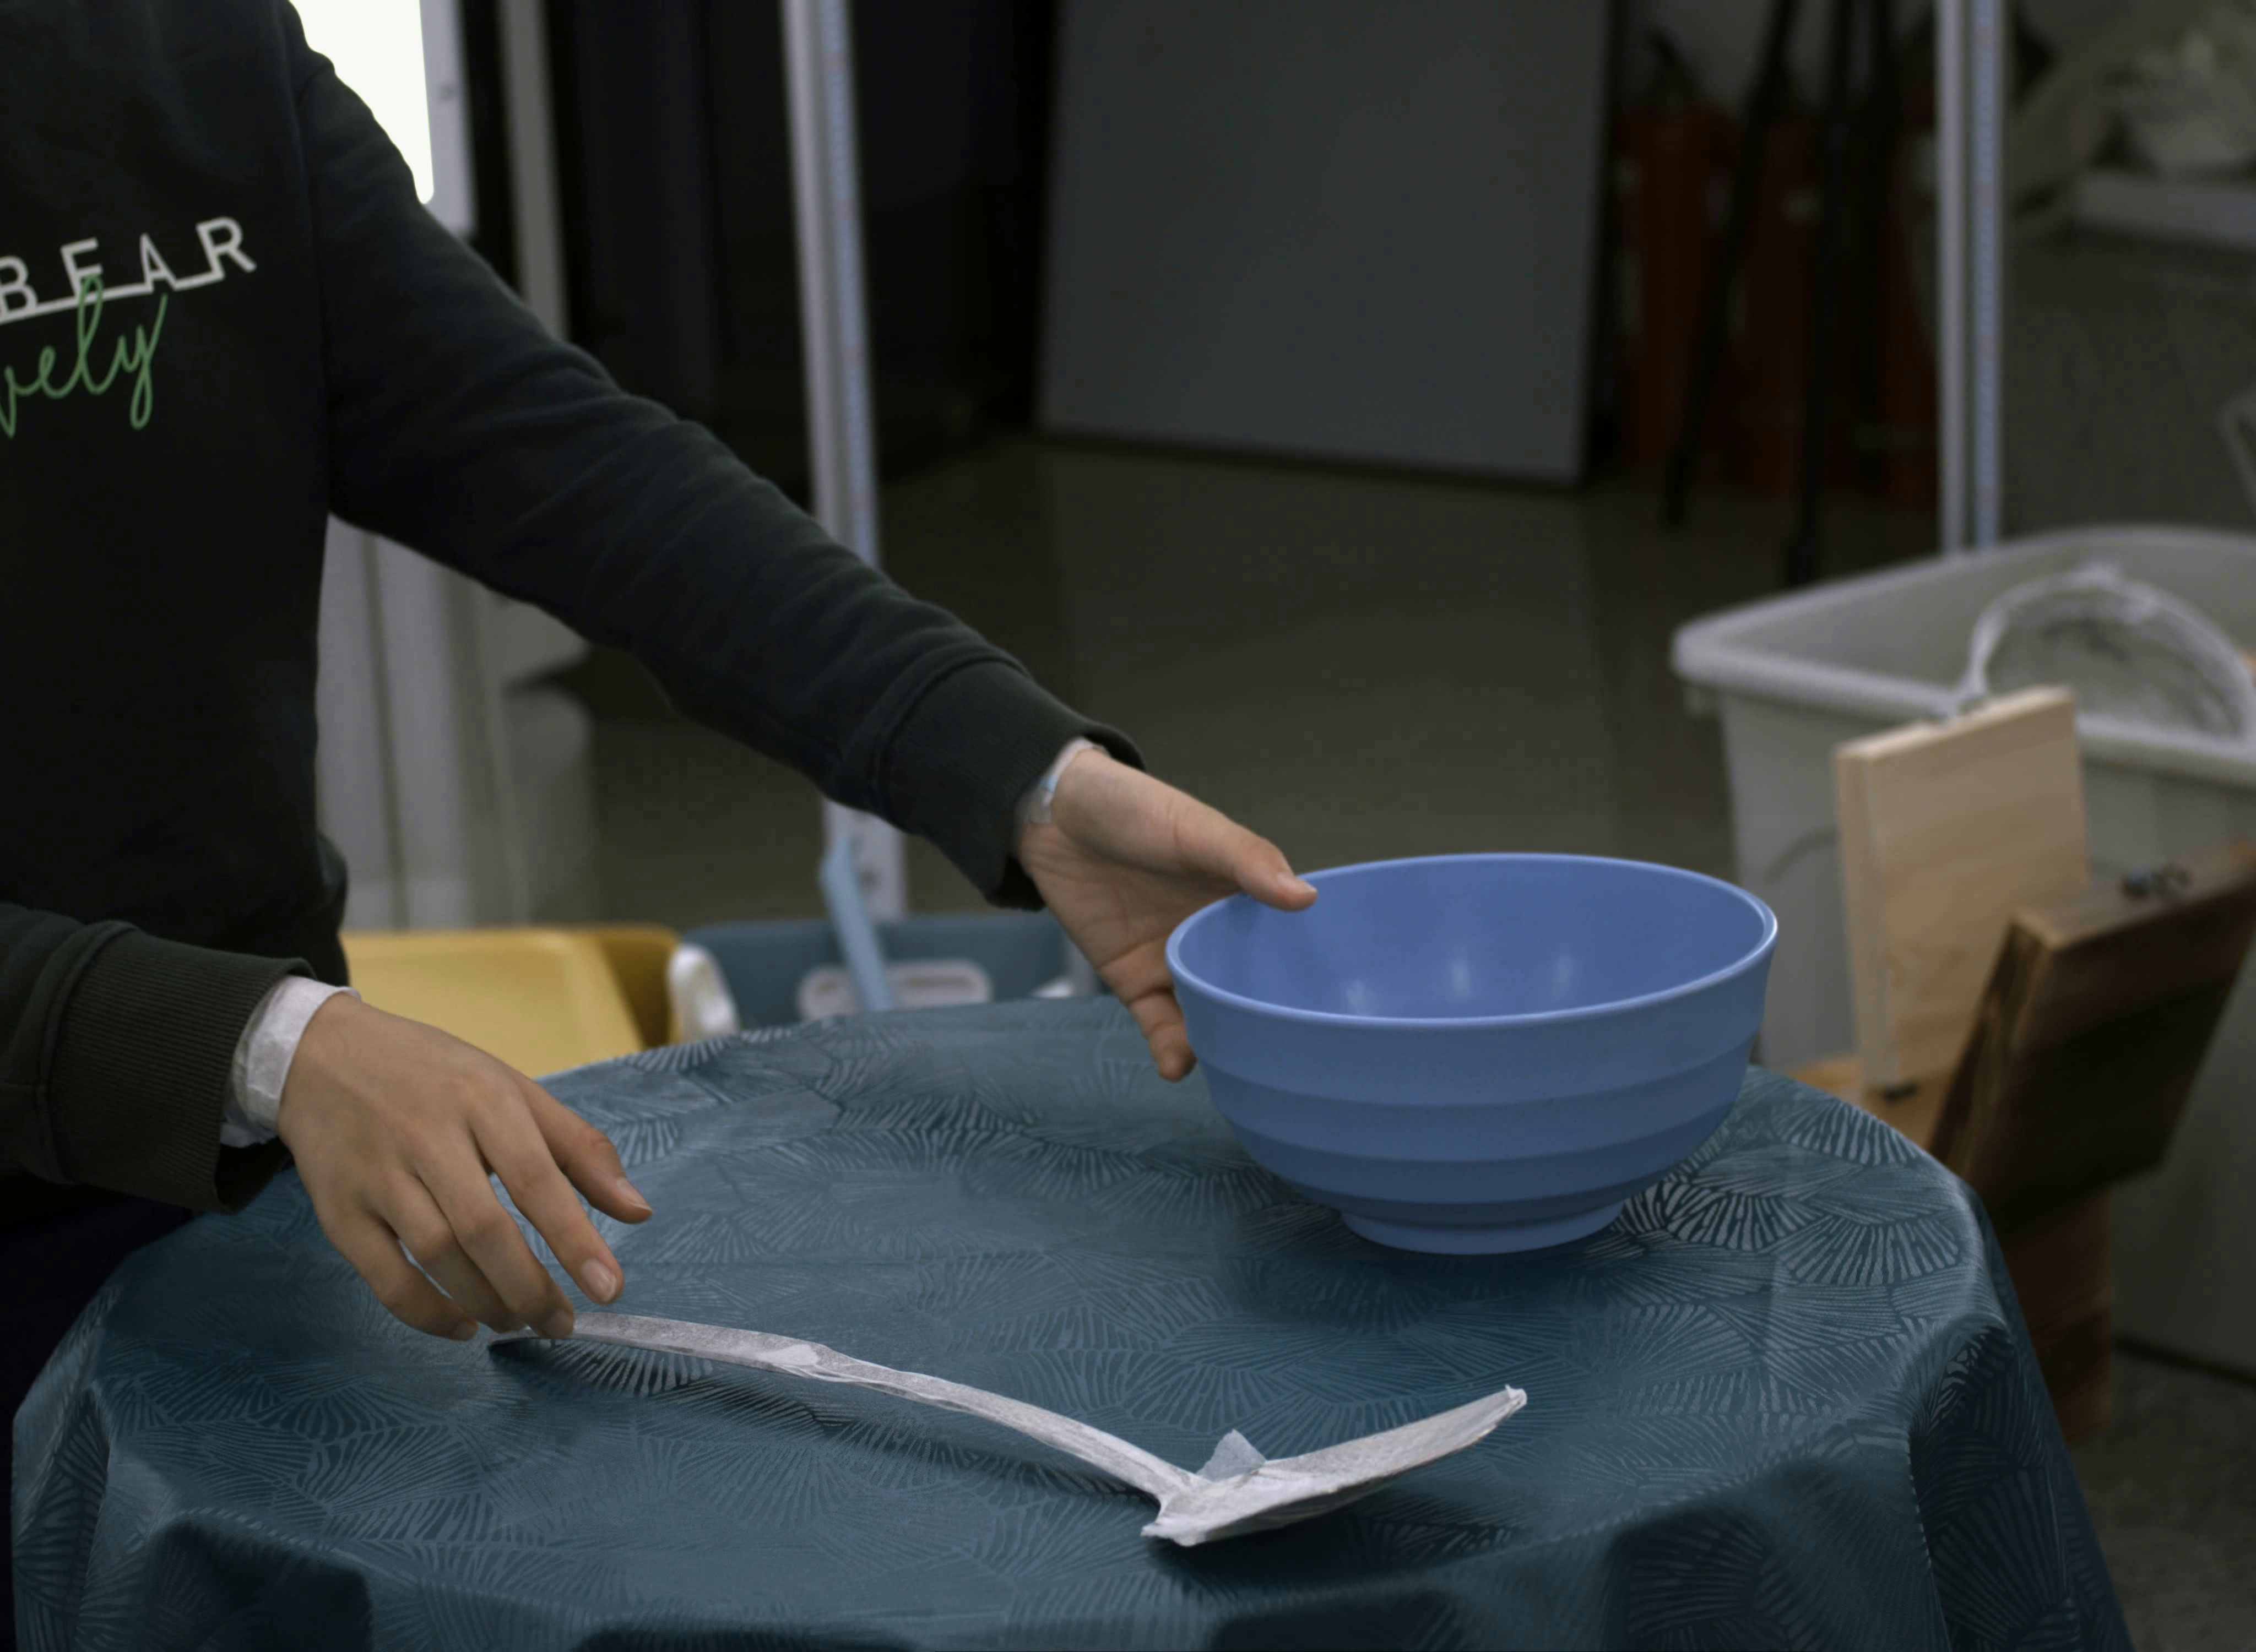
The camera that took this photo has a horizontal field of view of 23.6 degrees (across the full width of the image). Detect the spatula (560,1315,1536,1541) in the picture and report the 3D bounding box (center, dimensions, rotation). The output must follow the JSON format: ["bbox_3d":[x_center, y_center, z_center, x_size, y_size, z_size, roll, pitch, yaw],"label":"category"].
[{"bbox_3d":[-0.044,0.160,1.545,0.368,0.045,0.097,8,20,41],"label":"spatula"}]

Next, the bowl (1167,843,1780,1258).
[{"bbox_3d":[0.111,0.078,1.716,0.194,0.096,0.197,-3,15,0],"label":"bowl"}]
